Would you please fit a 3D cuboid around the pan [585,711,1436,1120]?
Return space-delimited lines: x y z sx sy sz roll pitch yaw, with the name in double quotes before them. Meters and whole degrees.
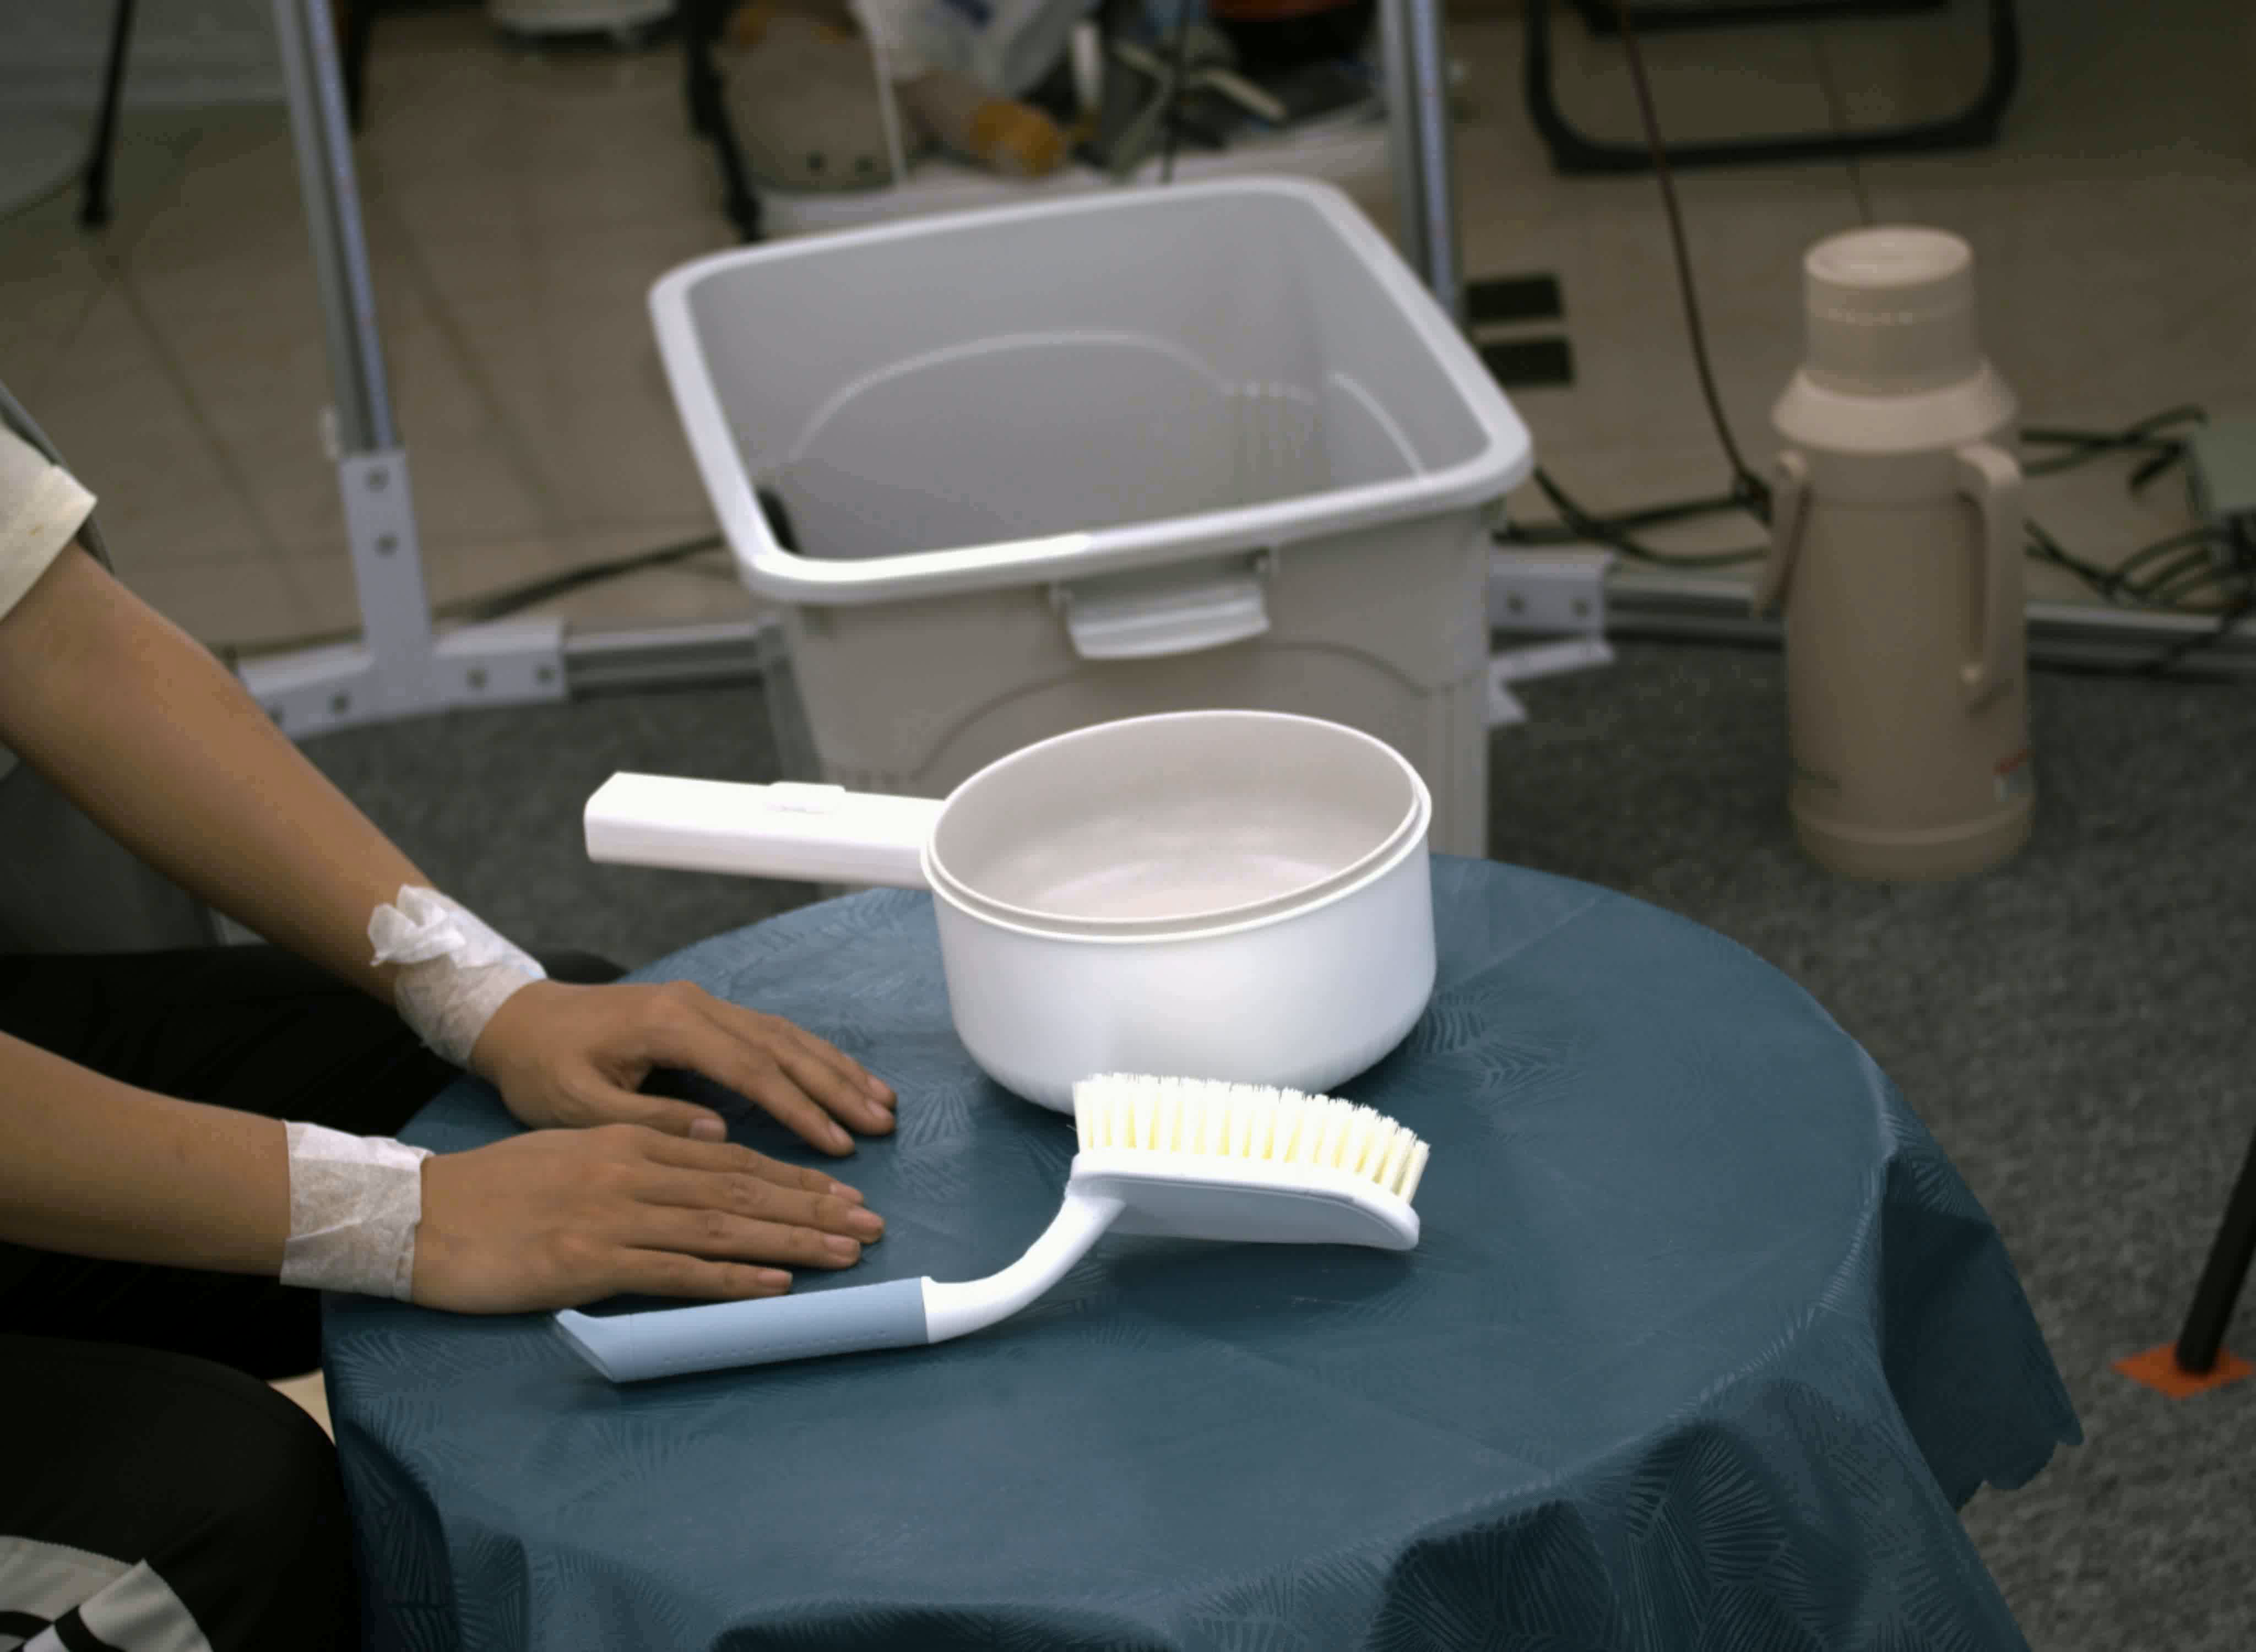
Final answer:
"pan" -0.048 0.036 2.266 0.354 0.104 0.198 3 28 22

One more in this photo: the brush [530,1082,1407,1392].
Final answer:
"brush" -0.060 0.137 2.073 0.325 0.084 0.083 -7 30 -2
